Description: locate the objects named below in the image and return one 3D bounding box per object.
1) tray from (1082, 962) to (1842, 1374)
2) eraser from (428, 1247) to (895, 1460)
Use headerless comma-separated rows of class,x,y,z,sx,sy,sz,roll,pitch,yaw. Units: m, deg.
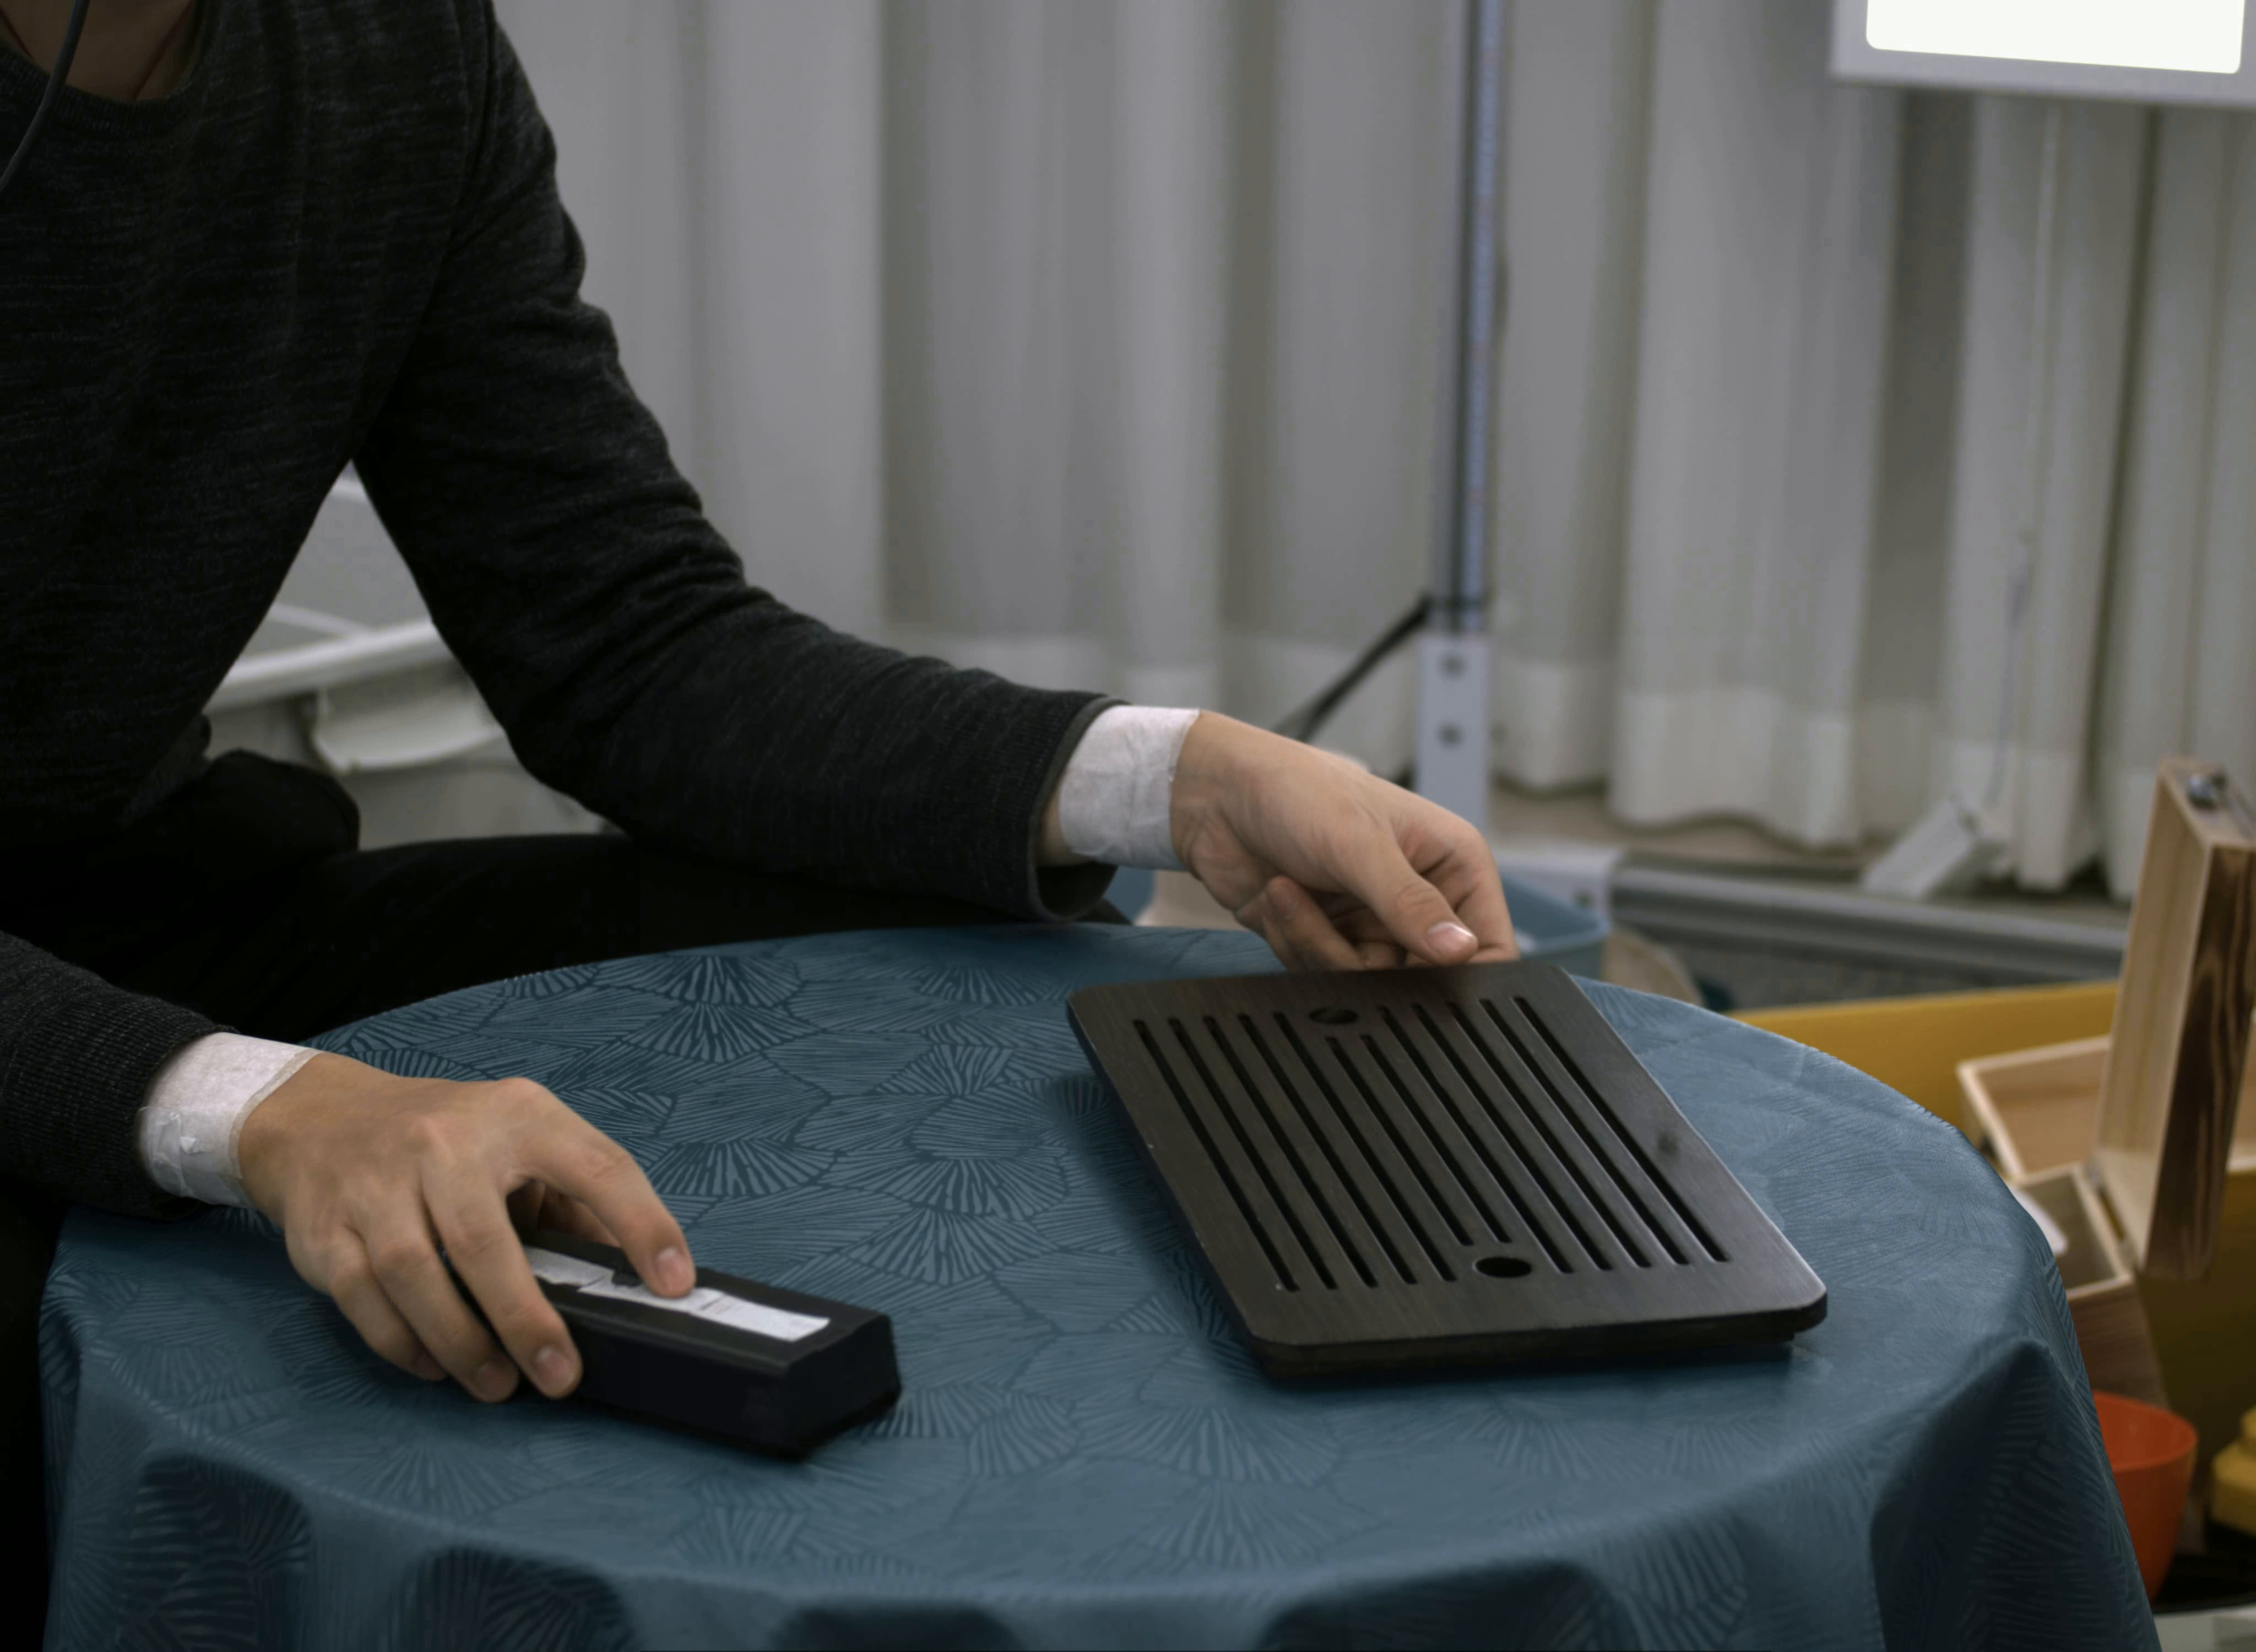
tray,0.094,0.101,1.613,0.170,0.019,0.303,-3,18,-11
eraser,-0.128,0.144,1.450,0.124,0.030,0.054,9,16,30
